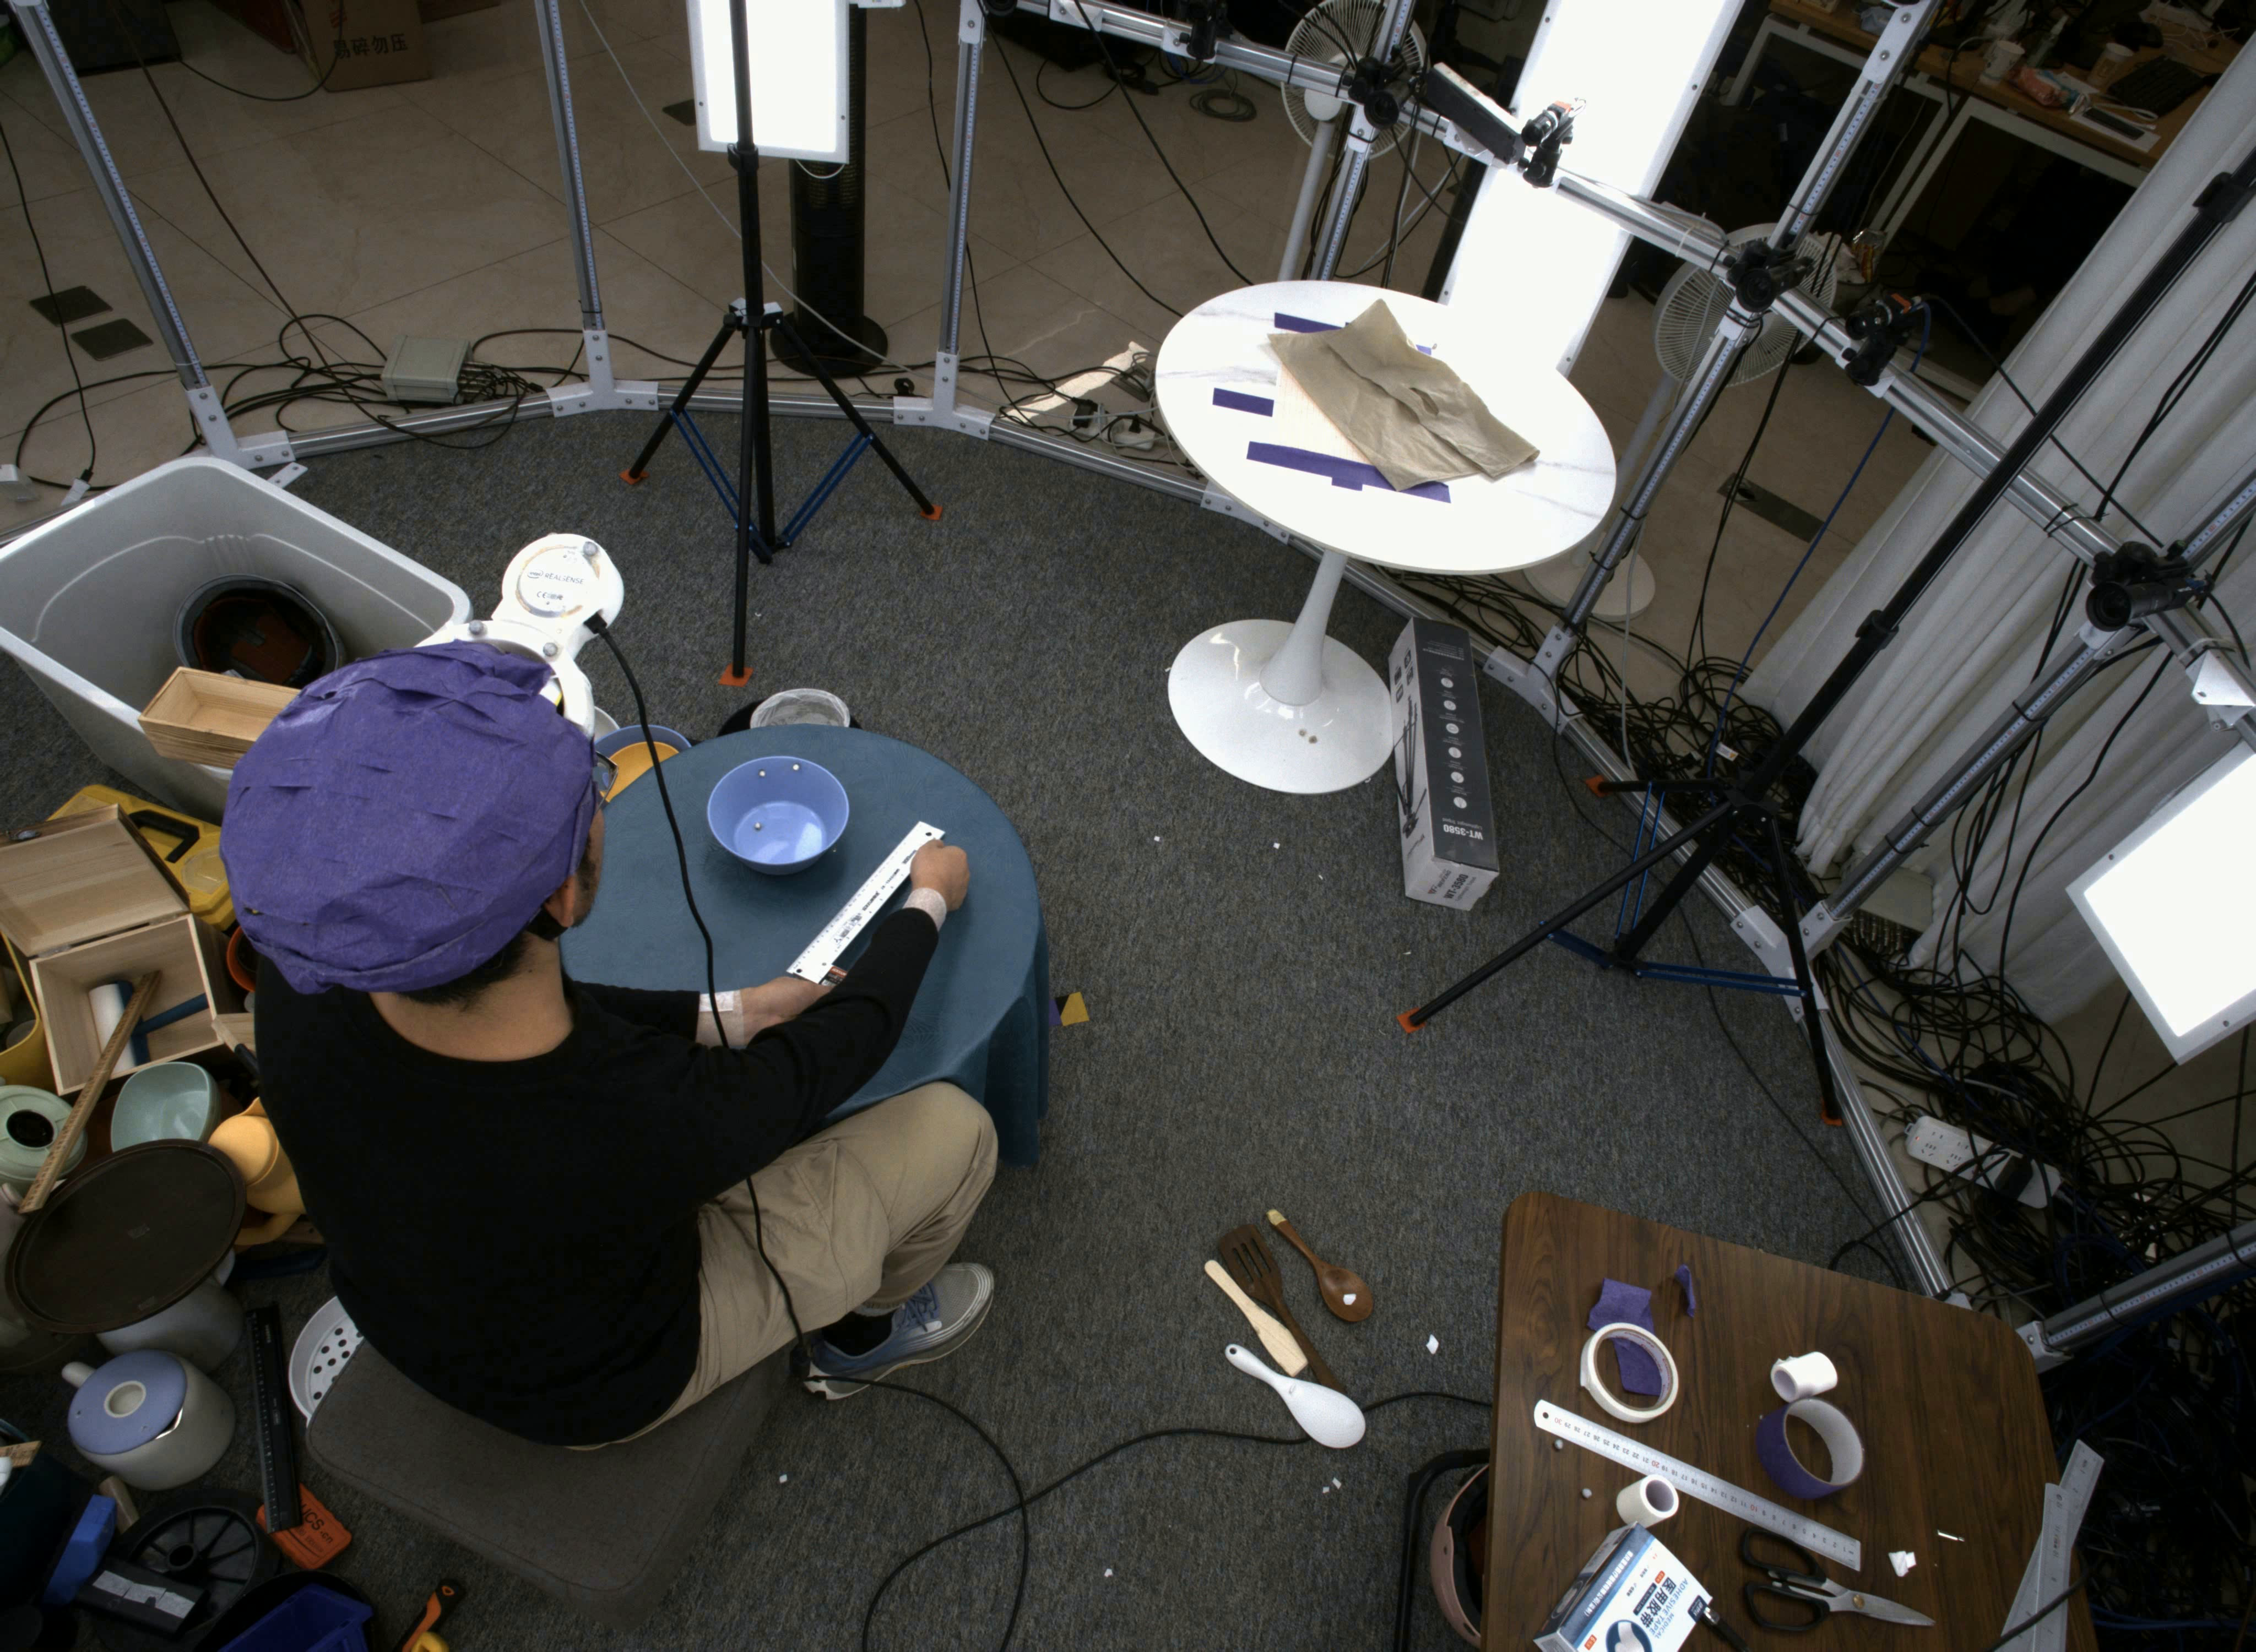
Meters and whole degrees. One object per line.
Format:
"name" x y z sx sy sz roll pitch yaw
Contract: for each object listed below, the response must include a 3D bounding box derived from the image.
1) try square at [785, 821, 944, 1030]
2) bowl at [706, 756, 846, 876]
"try square" -0.281 0.113 1.641 0.149 0.016 0.311 26 45 9
"bowl" -0.452 -0.003 1.669 0.176 0.071 0.173 8 52 -9
